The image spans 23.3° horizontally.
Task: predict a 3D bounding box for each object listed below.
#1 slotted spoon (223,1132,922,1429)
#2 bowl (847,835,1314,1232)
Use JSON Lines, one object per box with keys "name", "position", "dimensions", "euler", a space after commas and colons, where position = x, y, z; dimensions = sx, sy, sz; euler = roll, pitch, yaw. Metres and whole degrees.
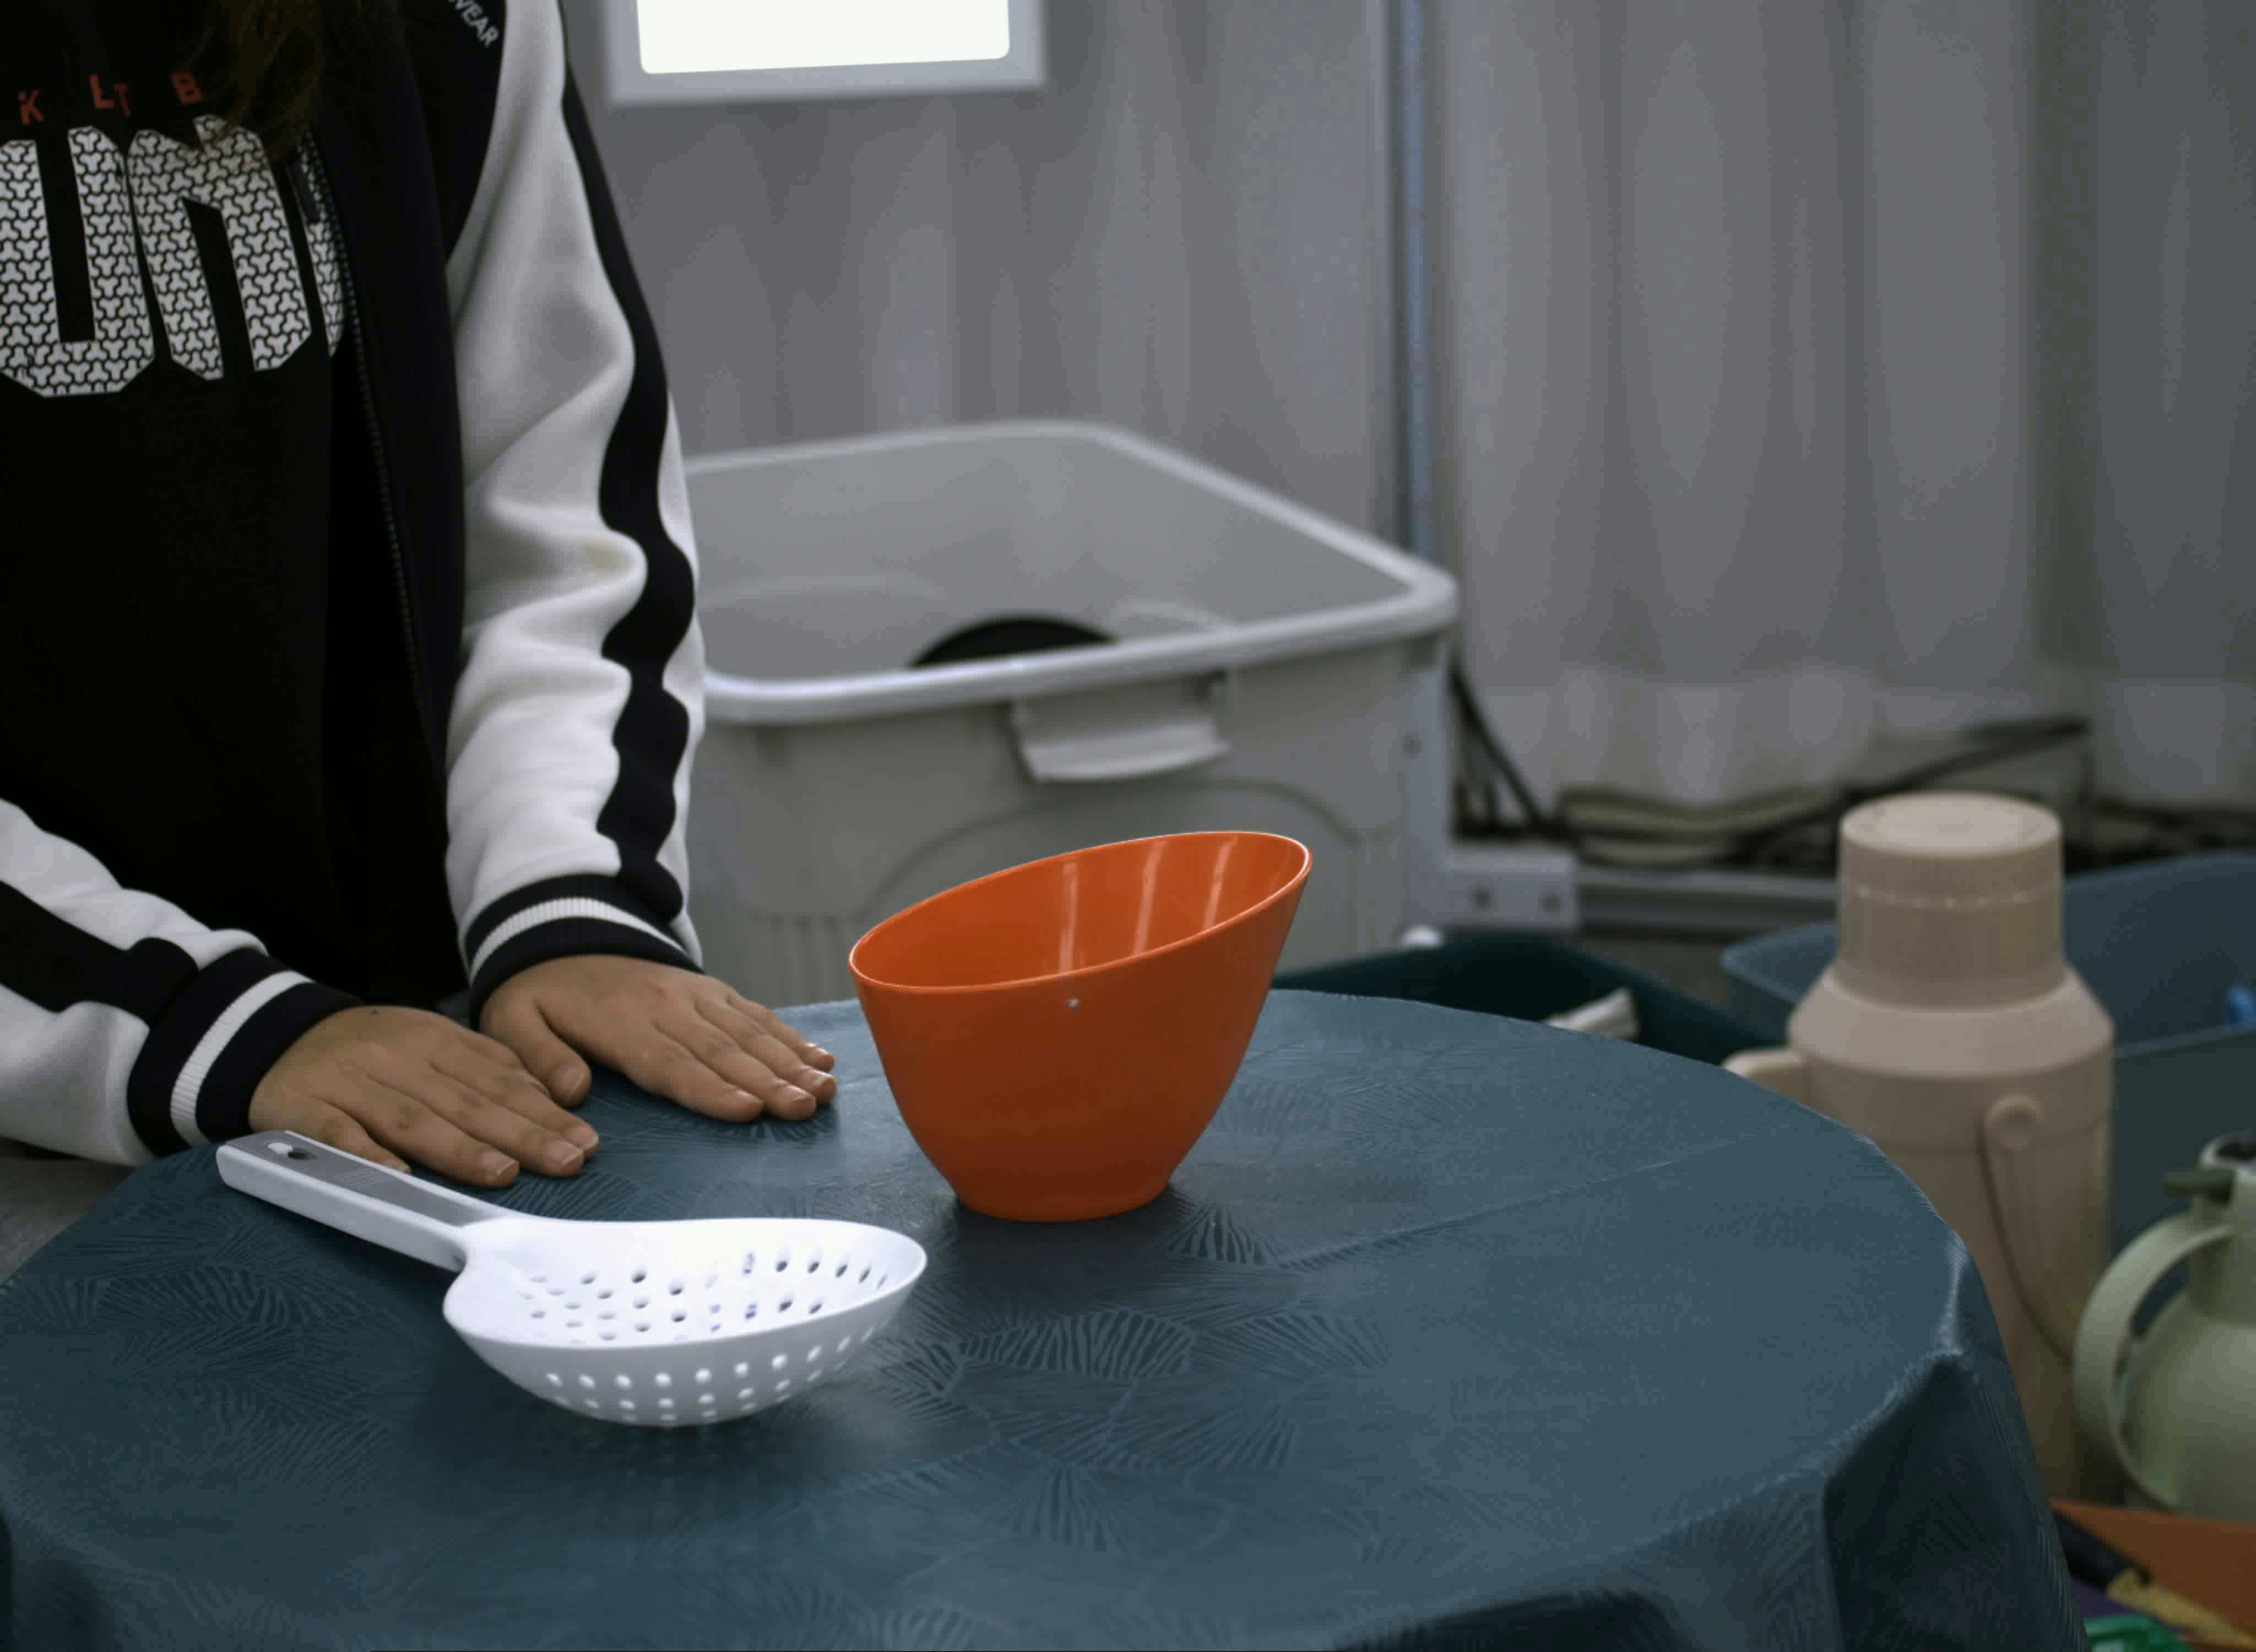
{"name": "slotted spoon", "position": [-0.185, 0.125, 1.625], "dimensions": [0.135, 0.045, 0.352], "euler": [-11, 16, -33]}
{"name": "bowl", "position": [-0.012, 0.067, 1.706], "dimensions": [0.147, 0.104, 0.149], "euler": [-4, 15, 1]}
